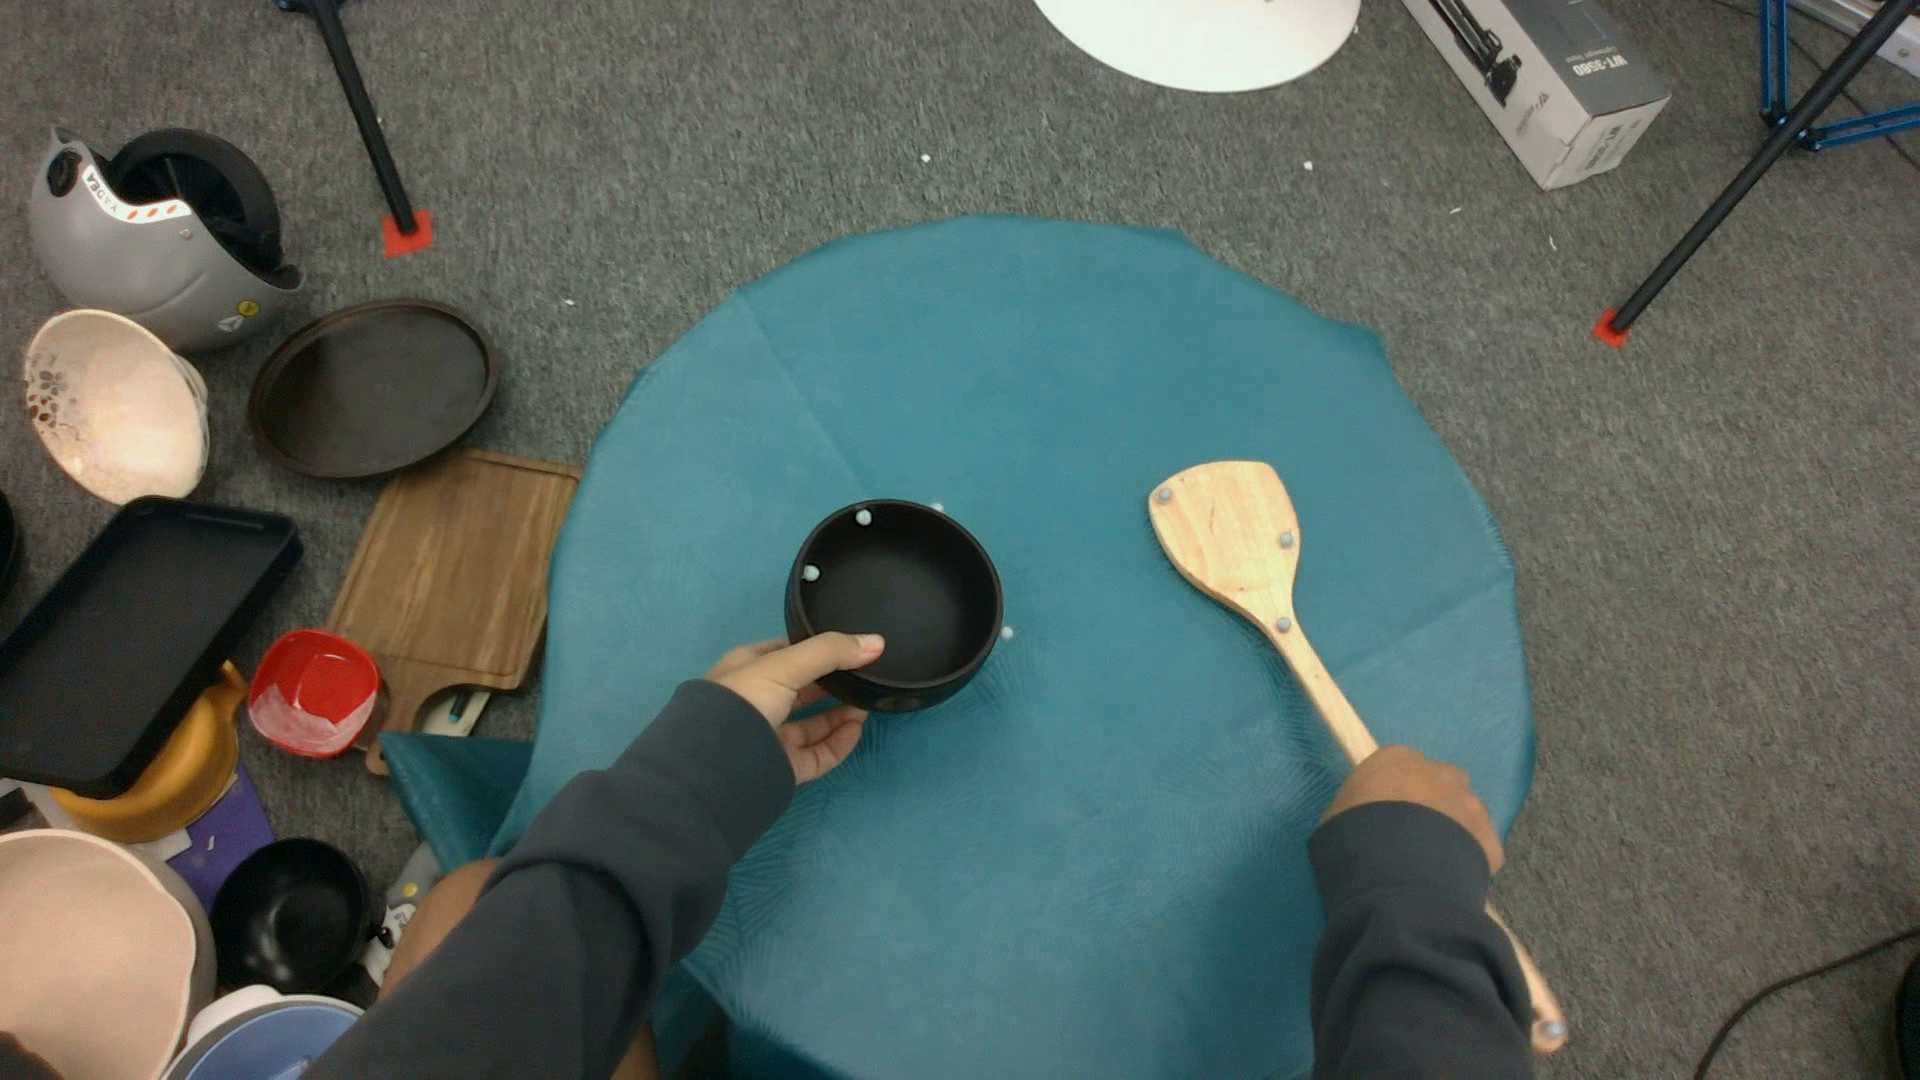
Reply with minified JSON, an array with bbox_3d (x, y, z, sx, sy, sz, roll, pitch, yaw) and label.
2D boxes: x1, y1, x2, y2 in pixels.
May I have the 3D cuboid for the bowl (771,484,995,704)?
[{"bbox_3d":[-0.046,0.035,0.752,0.118,0.069,0.118,7,60,-13],"label":"bowl"}]

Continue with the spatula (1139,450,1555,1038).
[{"bbox_3d":[0.224,0.098,0.796,0.096,0.018,0.392,-18,57,-16],"label":"spatula"}]
